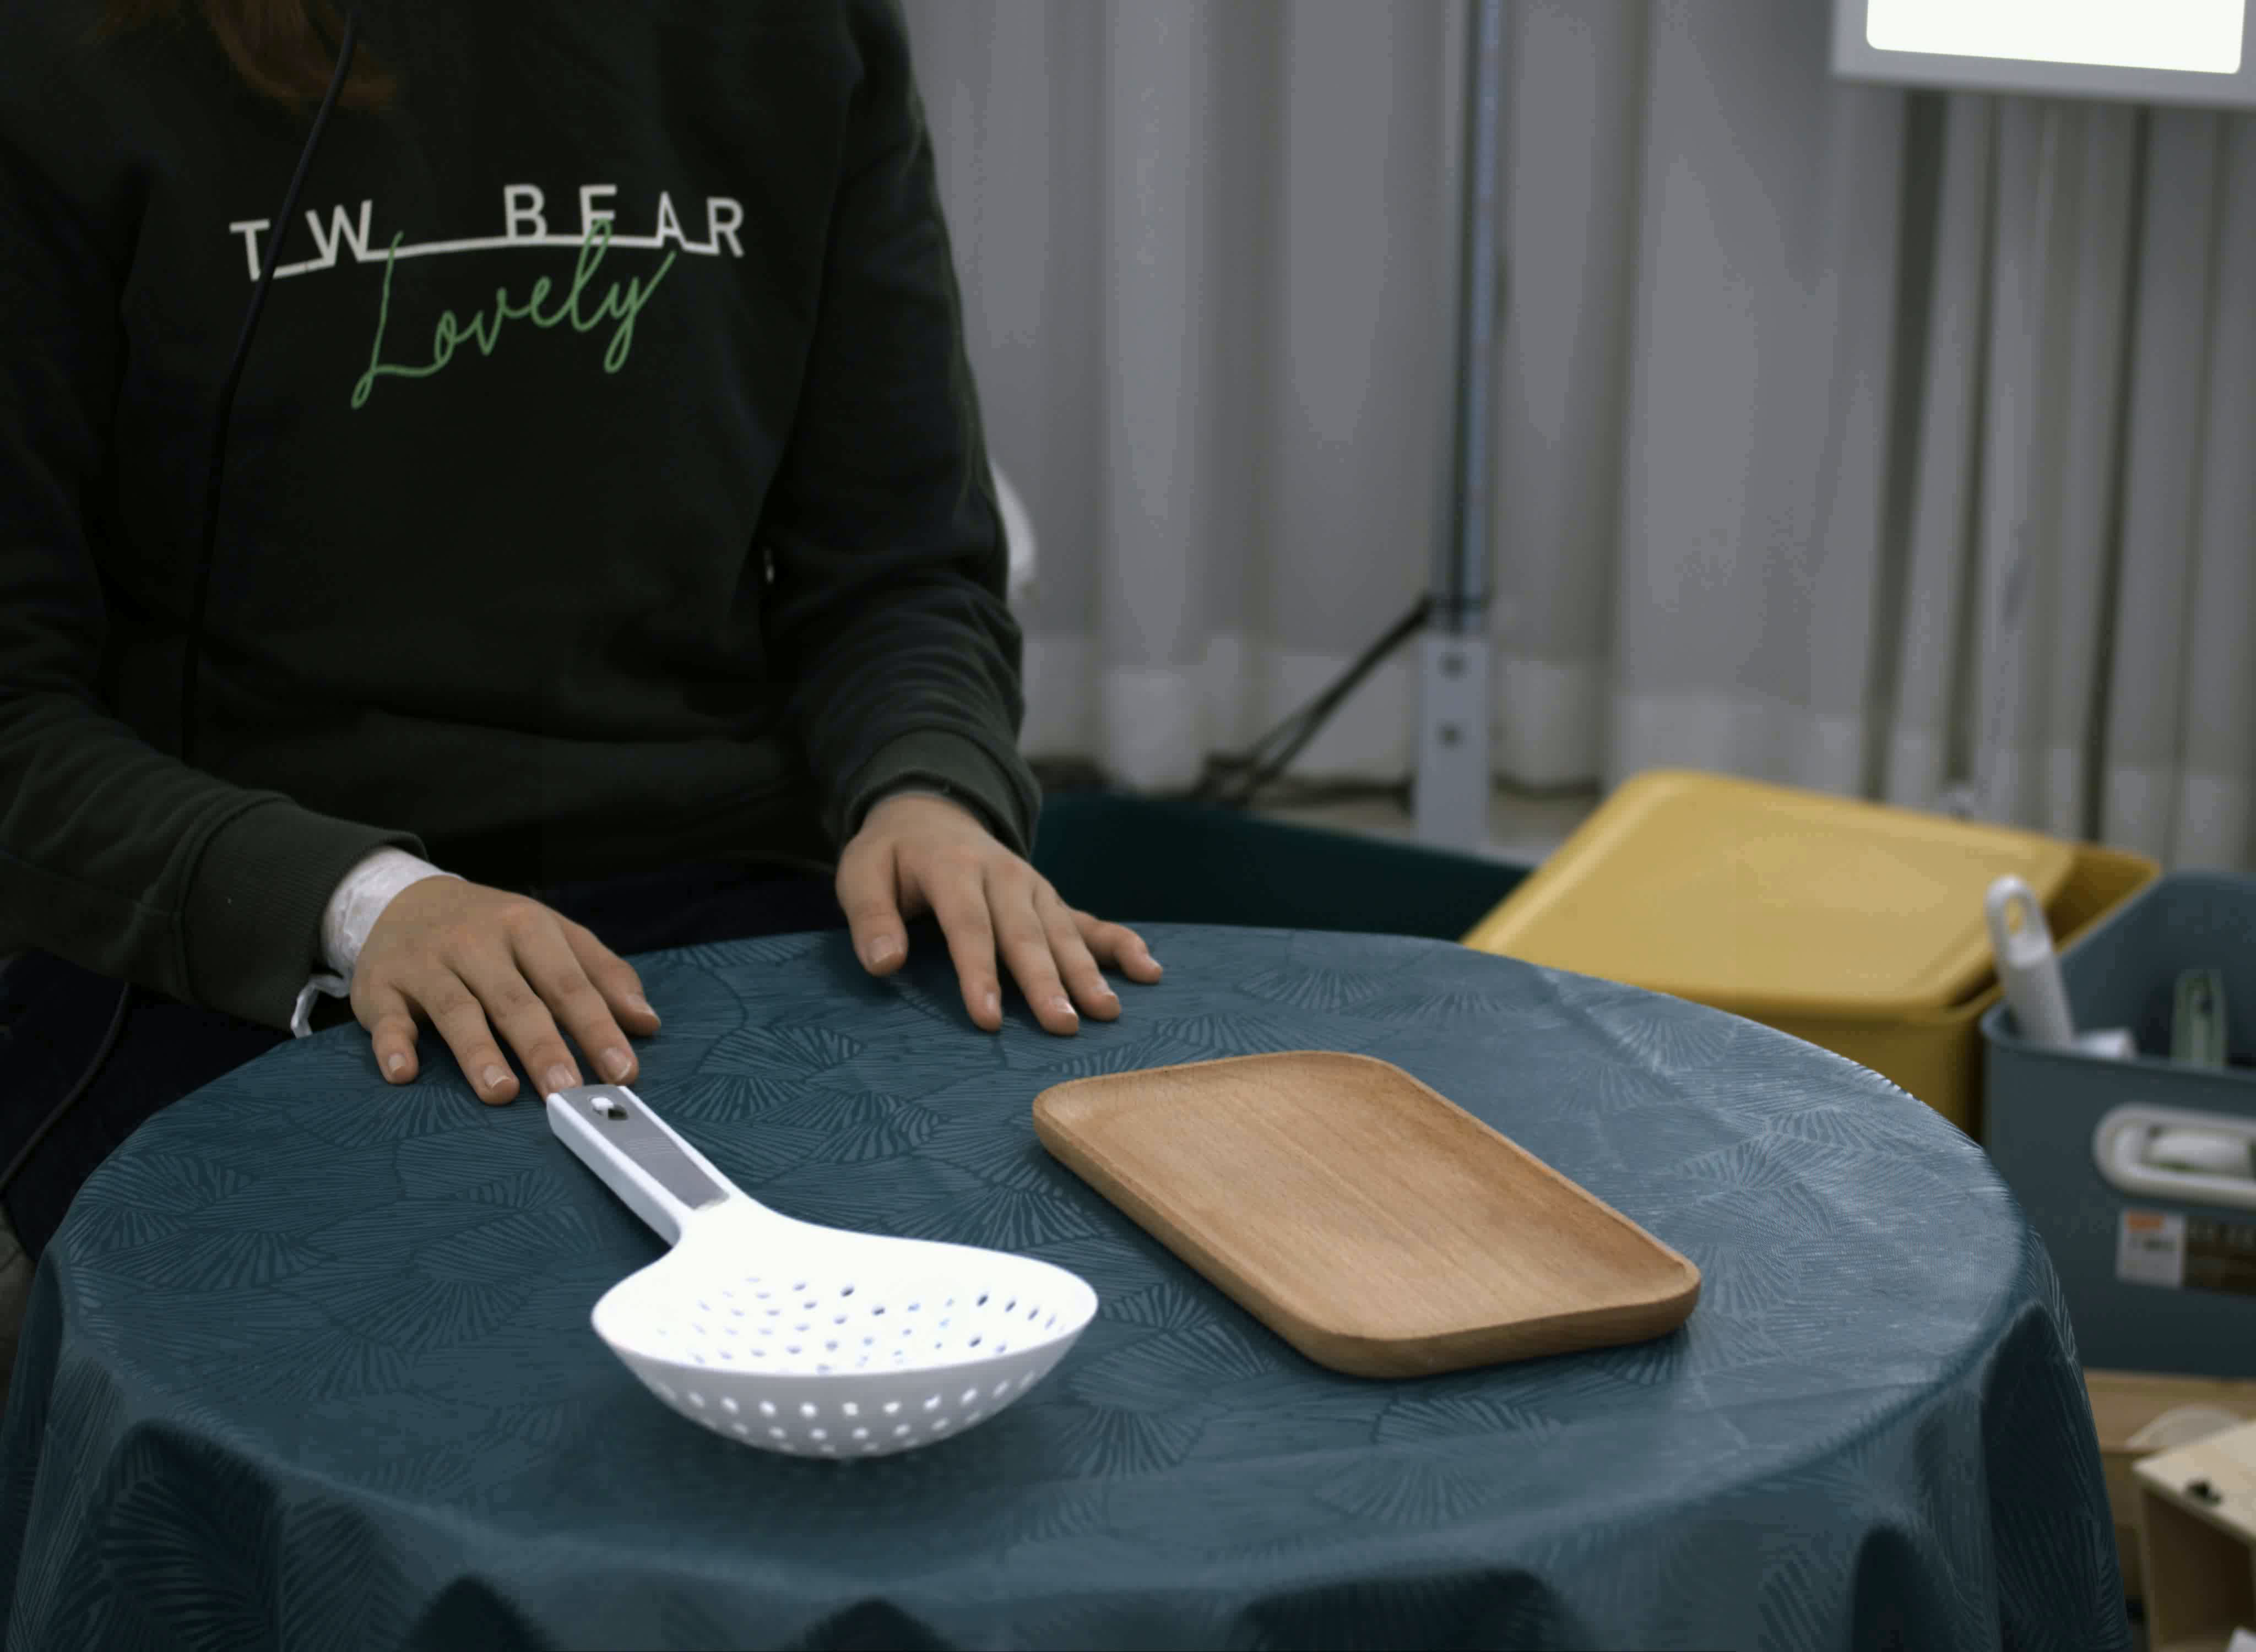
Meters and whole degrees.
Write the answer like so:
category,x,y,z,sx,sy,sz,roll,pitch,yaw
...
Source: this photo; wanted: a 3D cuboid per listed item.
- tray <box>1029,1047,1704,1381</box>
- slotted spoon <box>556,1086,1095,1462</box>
category,x,y,z,sx,sy,sz,roll,pitch,yaw
tray,0.067,0.114,1.593,0.131,0.023,0.248,-4,16,-23
slotted spoon,-0.113,0.119,1.515,0.136,0.046,0.346,-3,15,-20
